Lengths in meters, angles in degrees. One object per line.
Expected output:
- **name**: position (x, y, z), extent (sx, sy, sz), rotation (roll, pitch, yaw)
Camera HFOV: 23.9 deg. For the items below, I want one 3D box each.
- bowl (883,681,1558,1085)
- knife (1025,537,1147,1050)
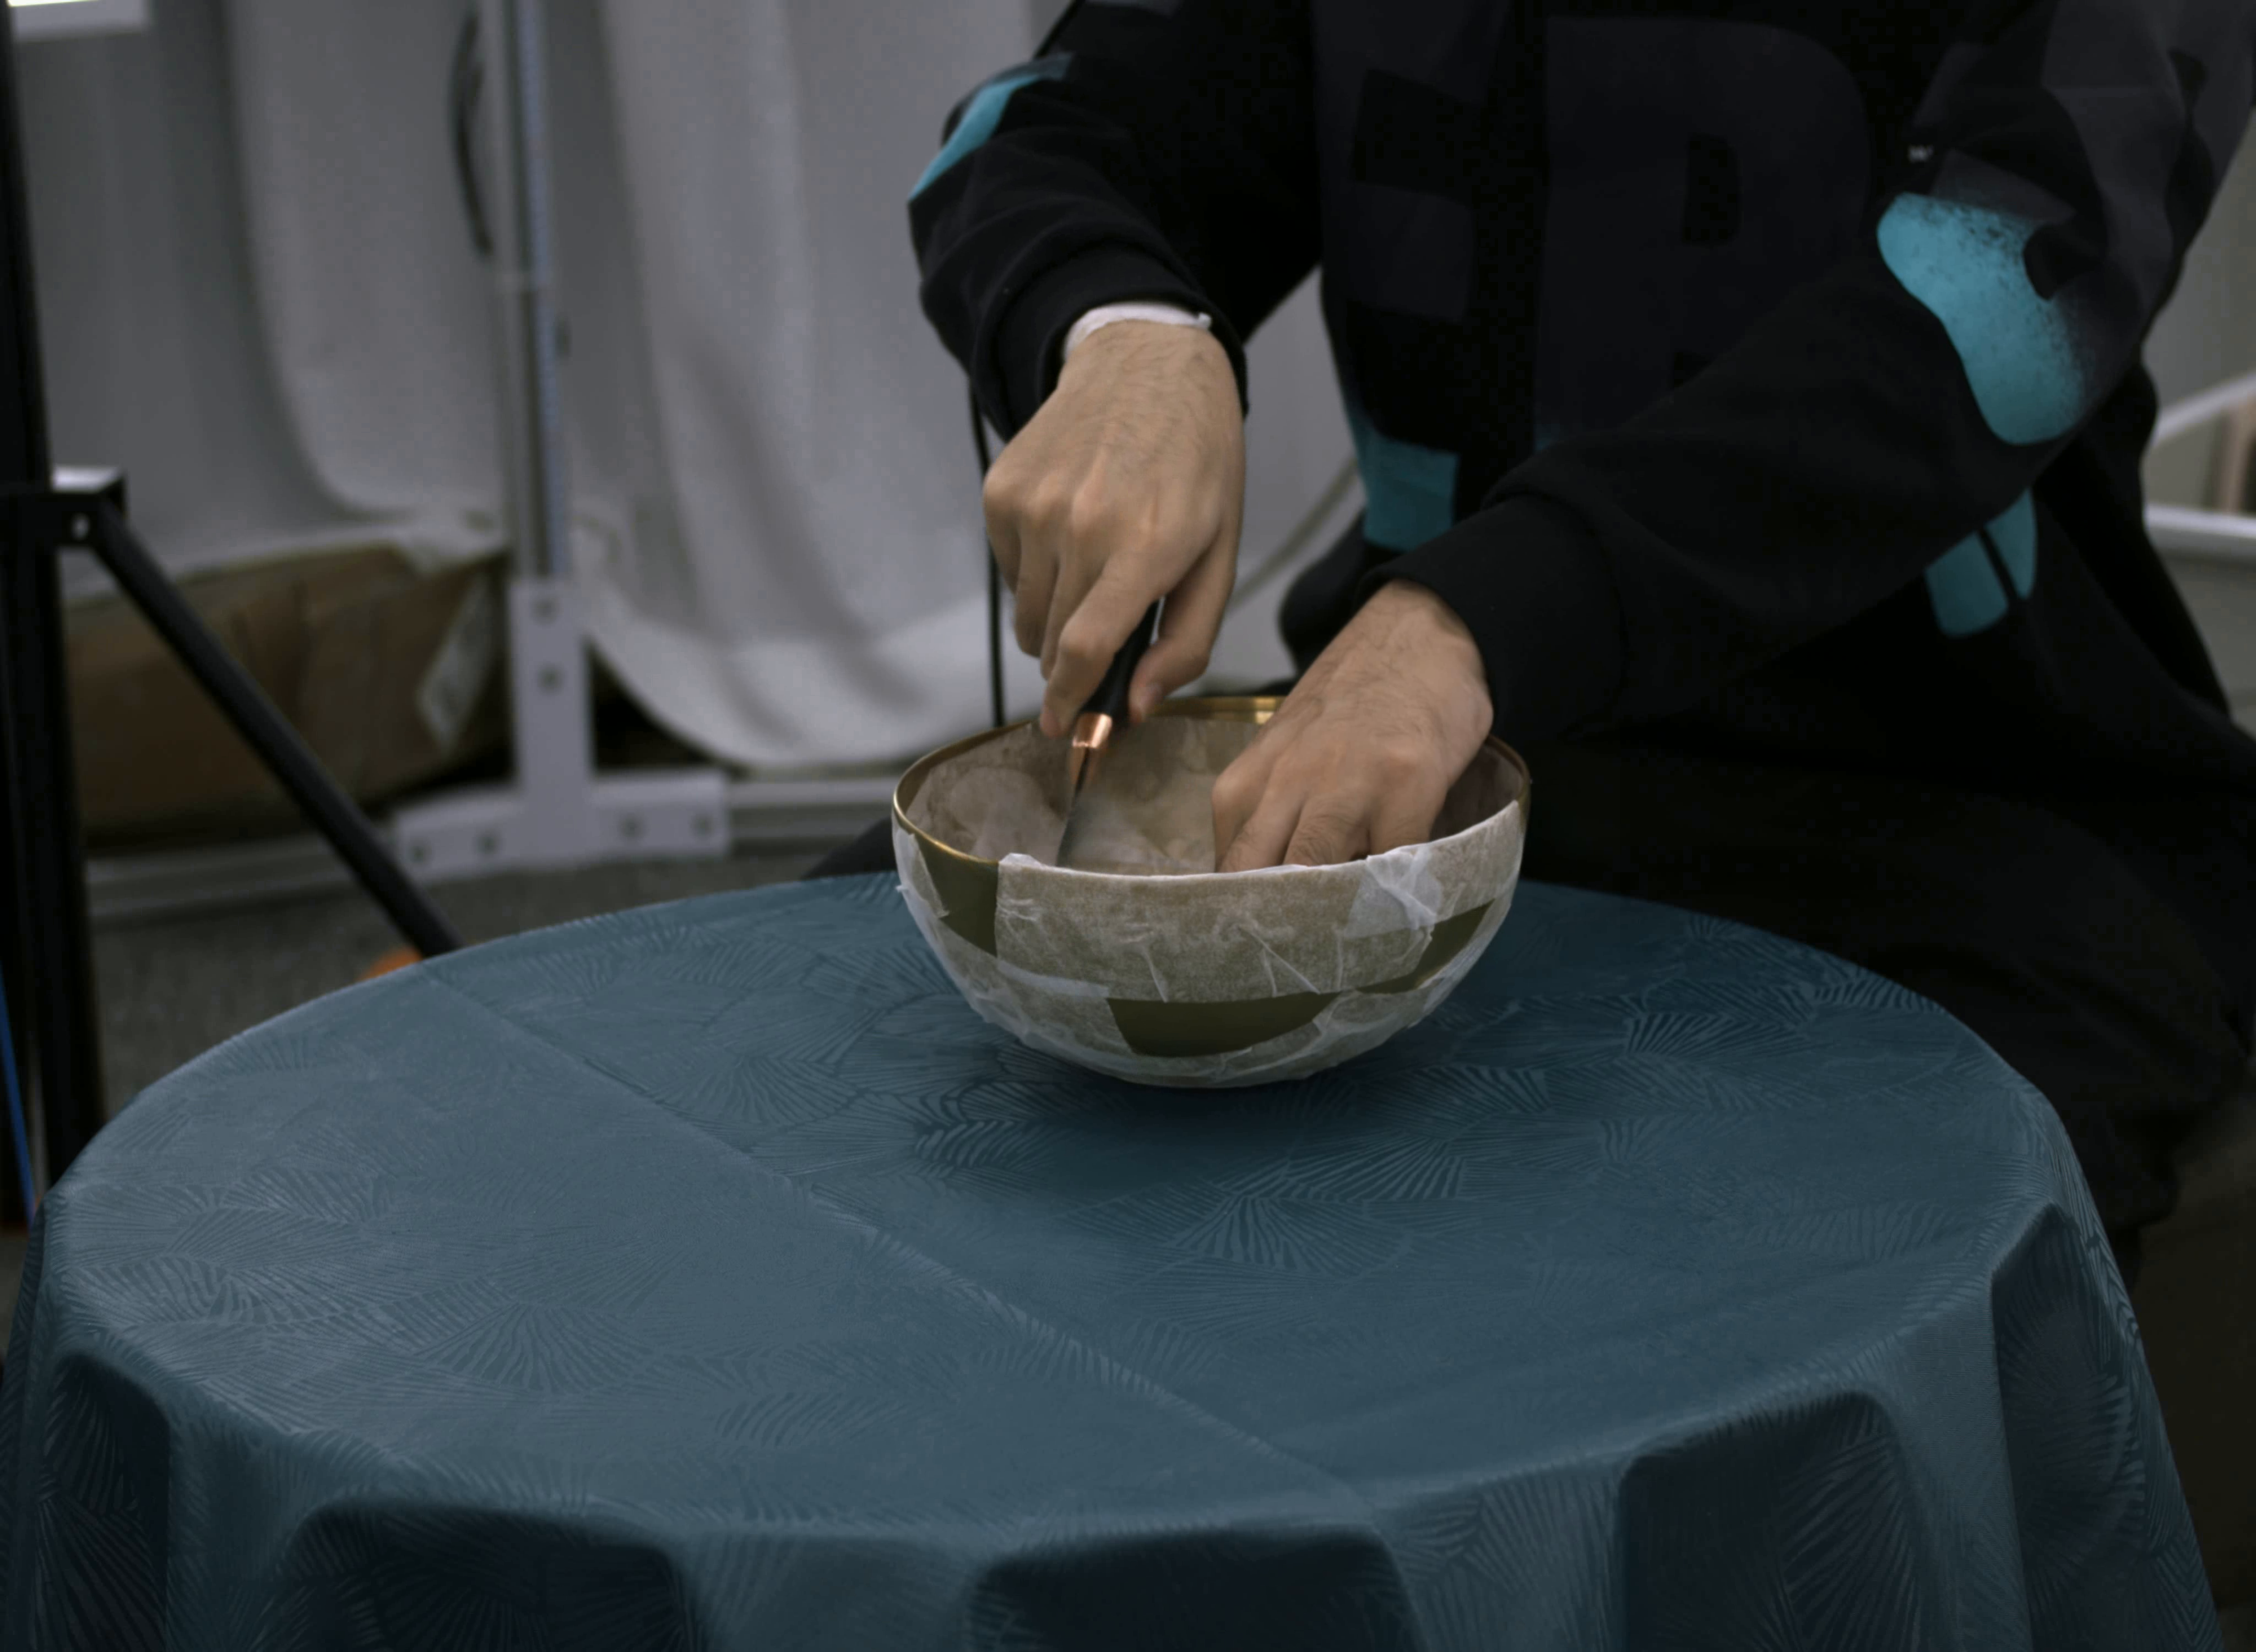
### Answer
- **bowl**: position (0.029, 0.026, 1.665), extent (0.214, 0.094, 0.216), rotation (-4, 17, 0)
- **knife**: position (-0.015, -0.014, 1.698), extent (0.017, 0.026, 0.226), rotation (3, 43, 8)
